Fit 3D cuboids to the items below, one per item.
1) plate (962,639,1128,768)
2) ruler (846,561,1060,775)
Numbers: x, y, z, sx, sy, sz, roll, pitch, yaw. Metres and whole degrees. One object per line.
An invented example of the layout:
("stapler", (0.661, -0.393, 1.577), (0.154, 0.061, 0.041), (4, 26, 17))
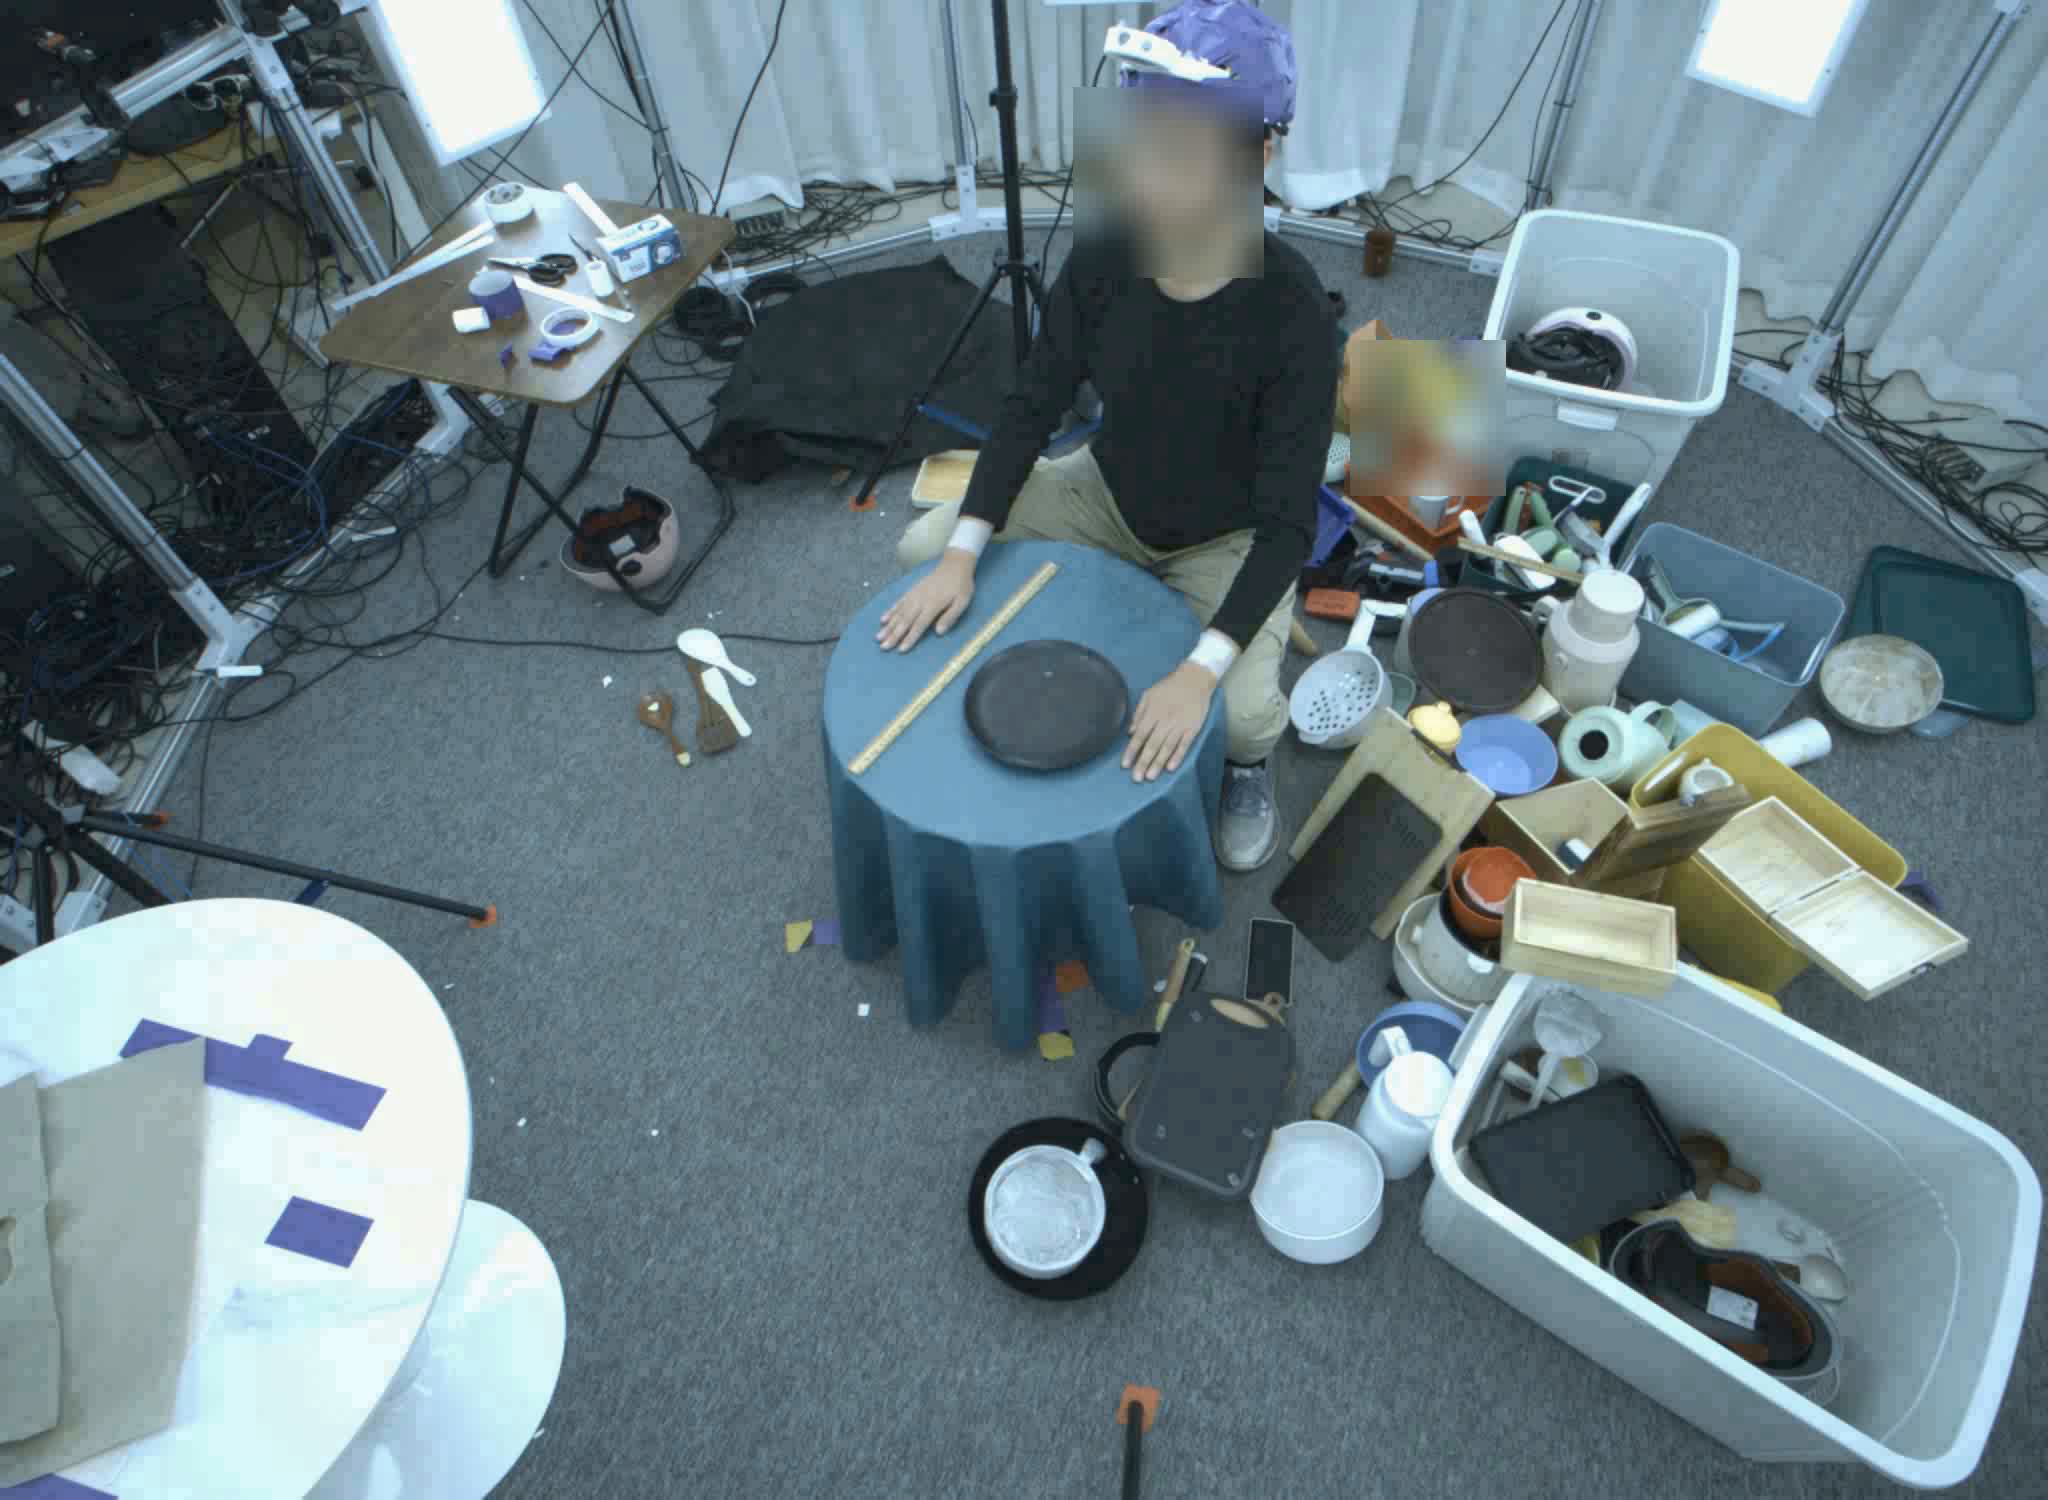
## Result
("plate", (0.032, -0.066, 1.819), (0.244, 0.024, 0.242), (0, 55, 2))
("ruler", (-0.100, -0.135, 1.884), (0.026, 0.006, 0.503), (32, 61, 20))
